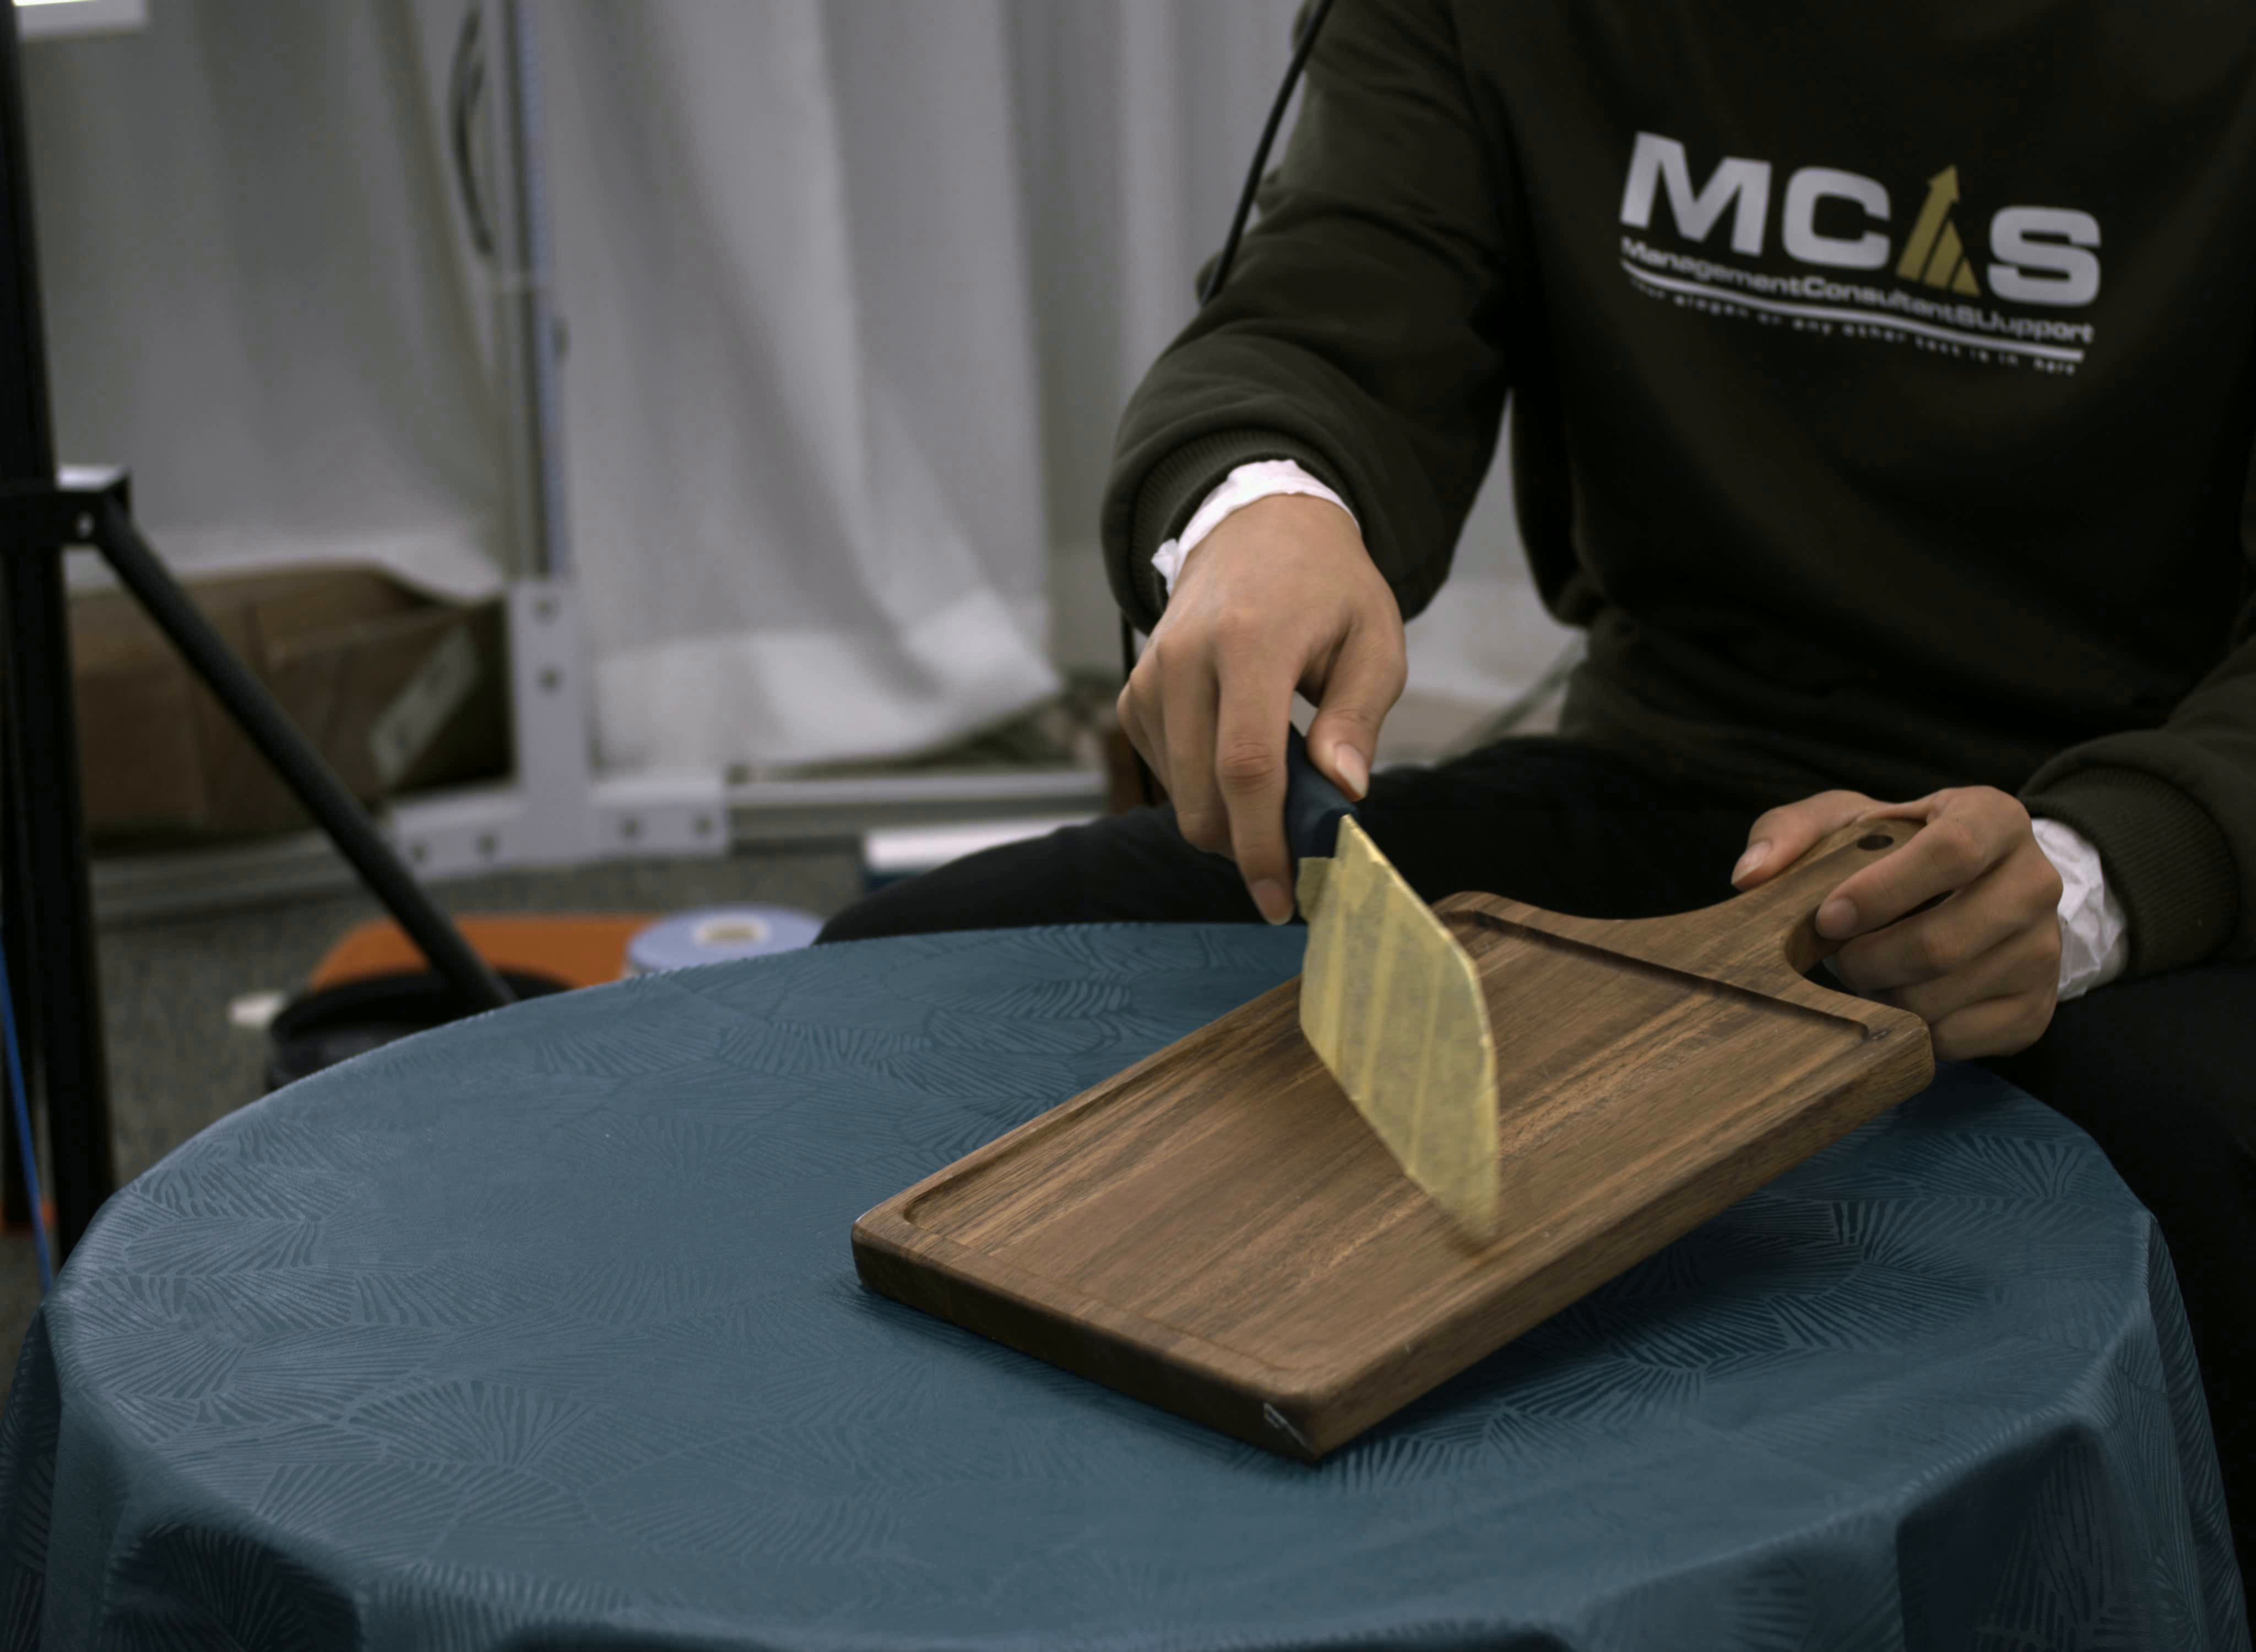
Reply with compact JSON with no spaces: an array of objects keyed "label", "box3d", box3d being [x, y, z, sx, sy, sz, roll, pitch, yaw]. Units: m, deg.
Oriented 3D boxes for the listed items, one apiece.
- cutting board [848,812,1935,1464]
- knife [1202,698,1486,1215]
[{"label":"cutting board","box3d":[0.110,0.073,1.512,0.346,0.023,0.206,-27,27,-33]},{"label":"knife","box3d":[0.062,0.032,1.523,0.027,0.081,0.294,5,22,-15]}]
